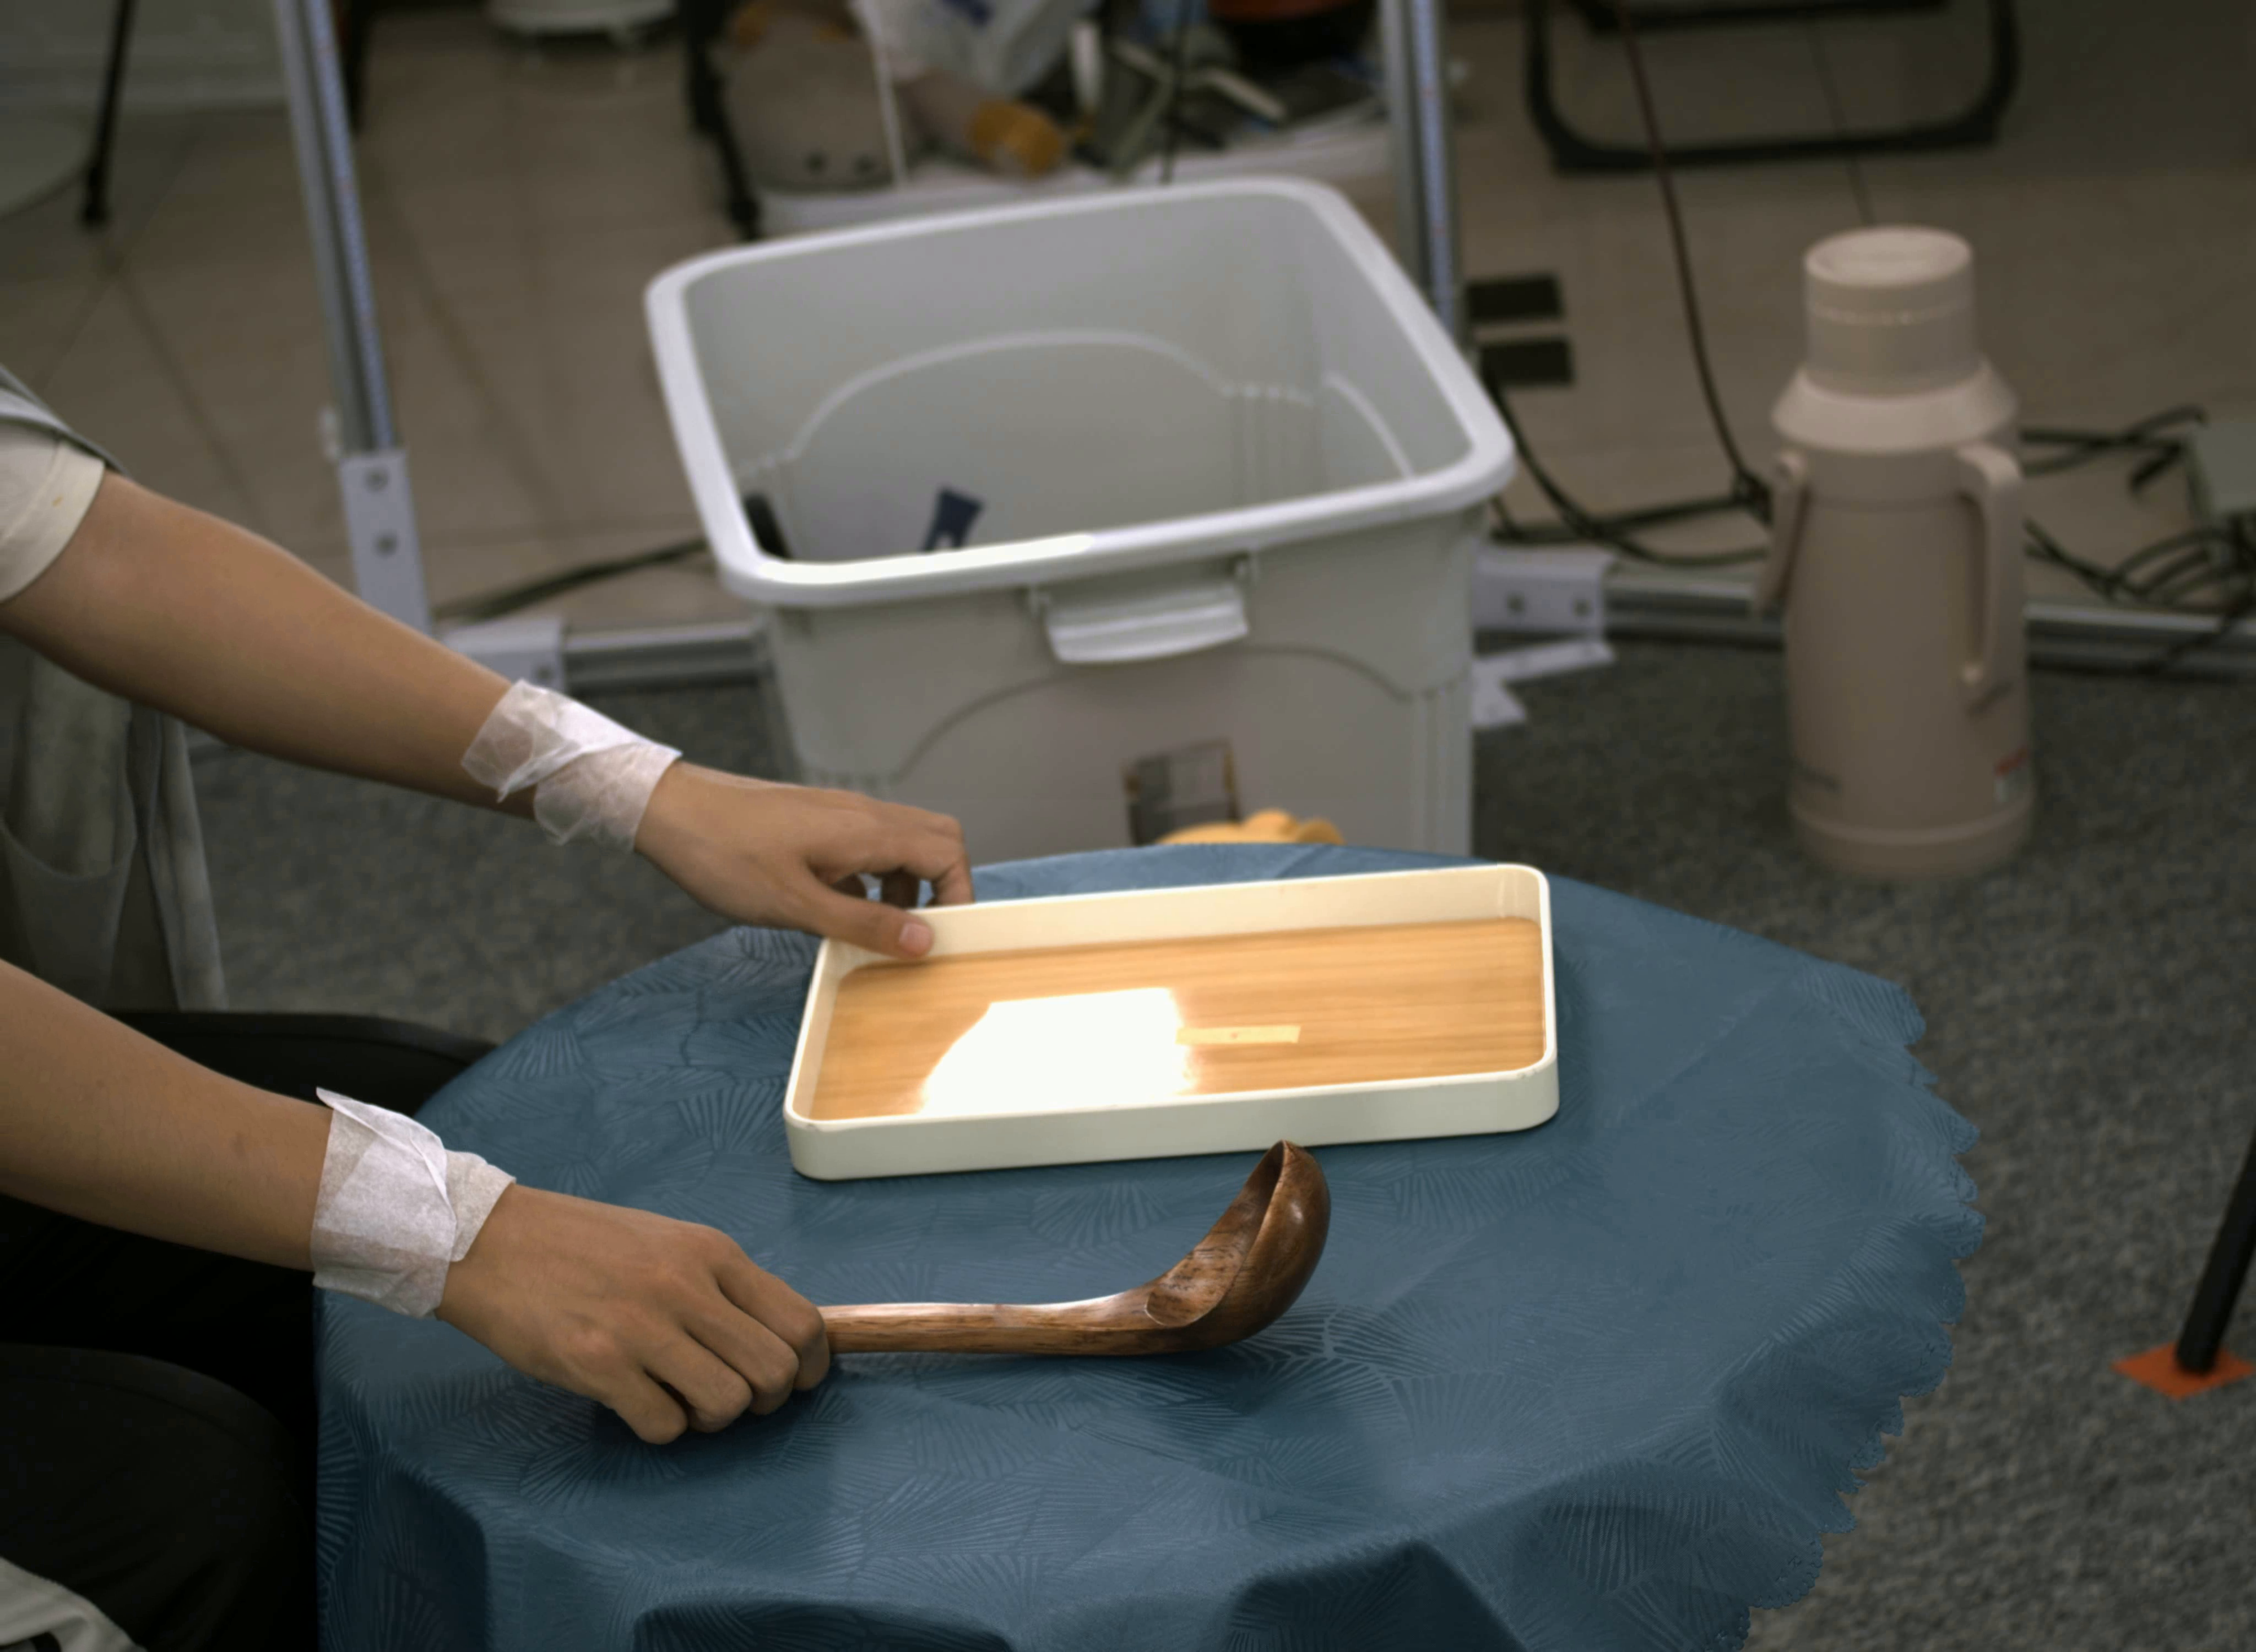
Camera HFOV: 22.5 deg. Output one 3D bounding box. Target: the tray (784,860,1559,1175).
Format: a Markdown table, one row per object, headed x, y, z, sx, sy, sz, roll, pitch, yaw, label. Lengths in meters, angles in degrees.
| x | y | z | sx | sy | sz | roll | pitch | yaw | label |
| --- | --- | --- | --- | --- | --- | --- | --- | --- | --- |
| 0.020 | 0.075 | 2.250 | 0.300 | 0.028 | 0.189 | -4 | 25 | 5 | tray |

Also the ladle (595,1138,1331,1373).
| x | y | z | sx | sy | sz | roll | pitch | yaw | label |
| --- | --- | --- | --- | --- | --- | --- | --- | --- | --- |
| -0.062 | 0.156 | 2.037 | 0.273 | 0.077 | 0.081 | -3 | 19 | 8 | ladle |
